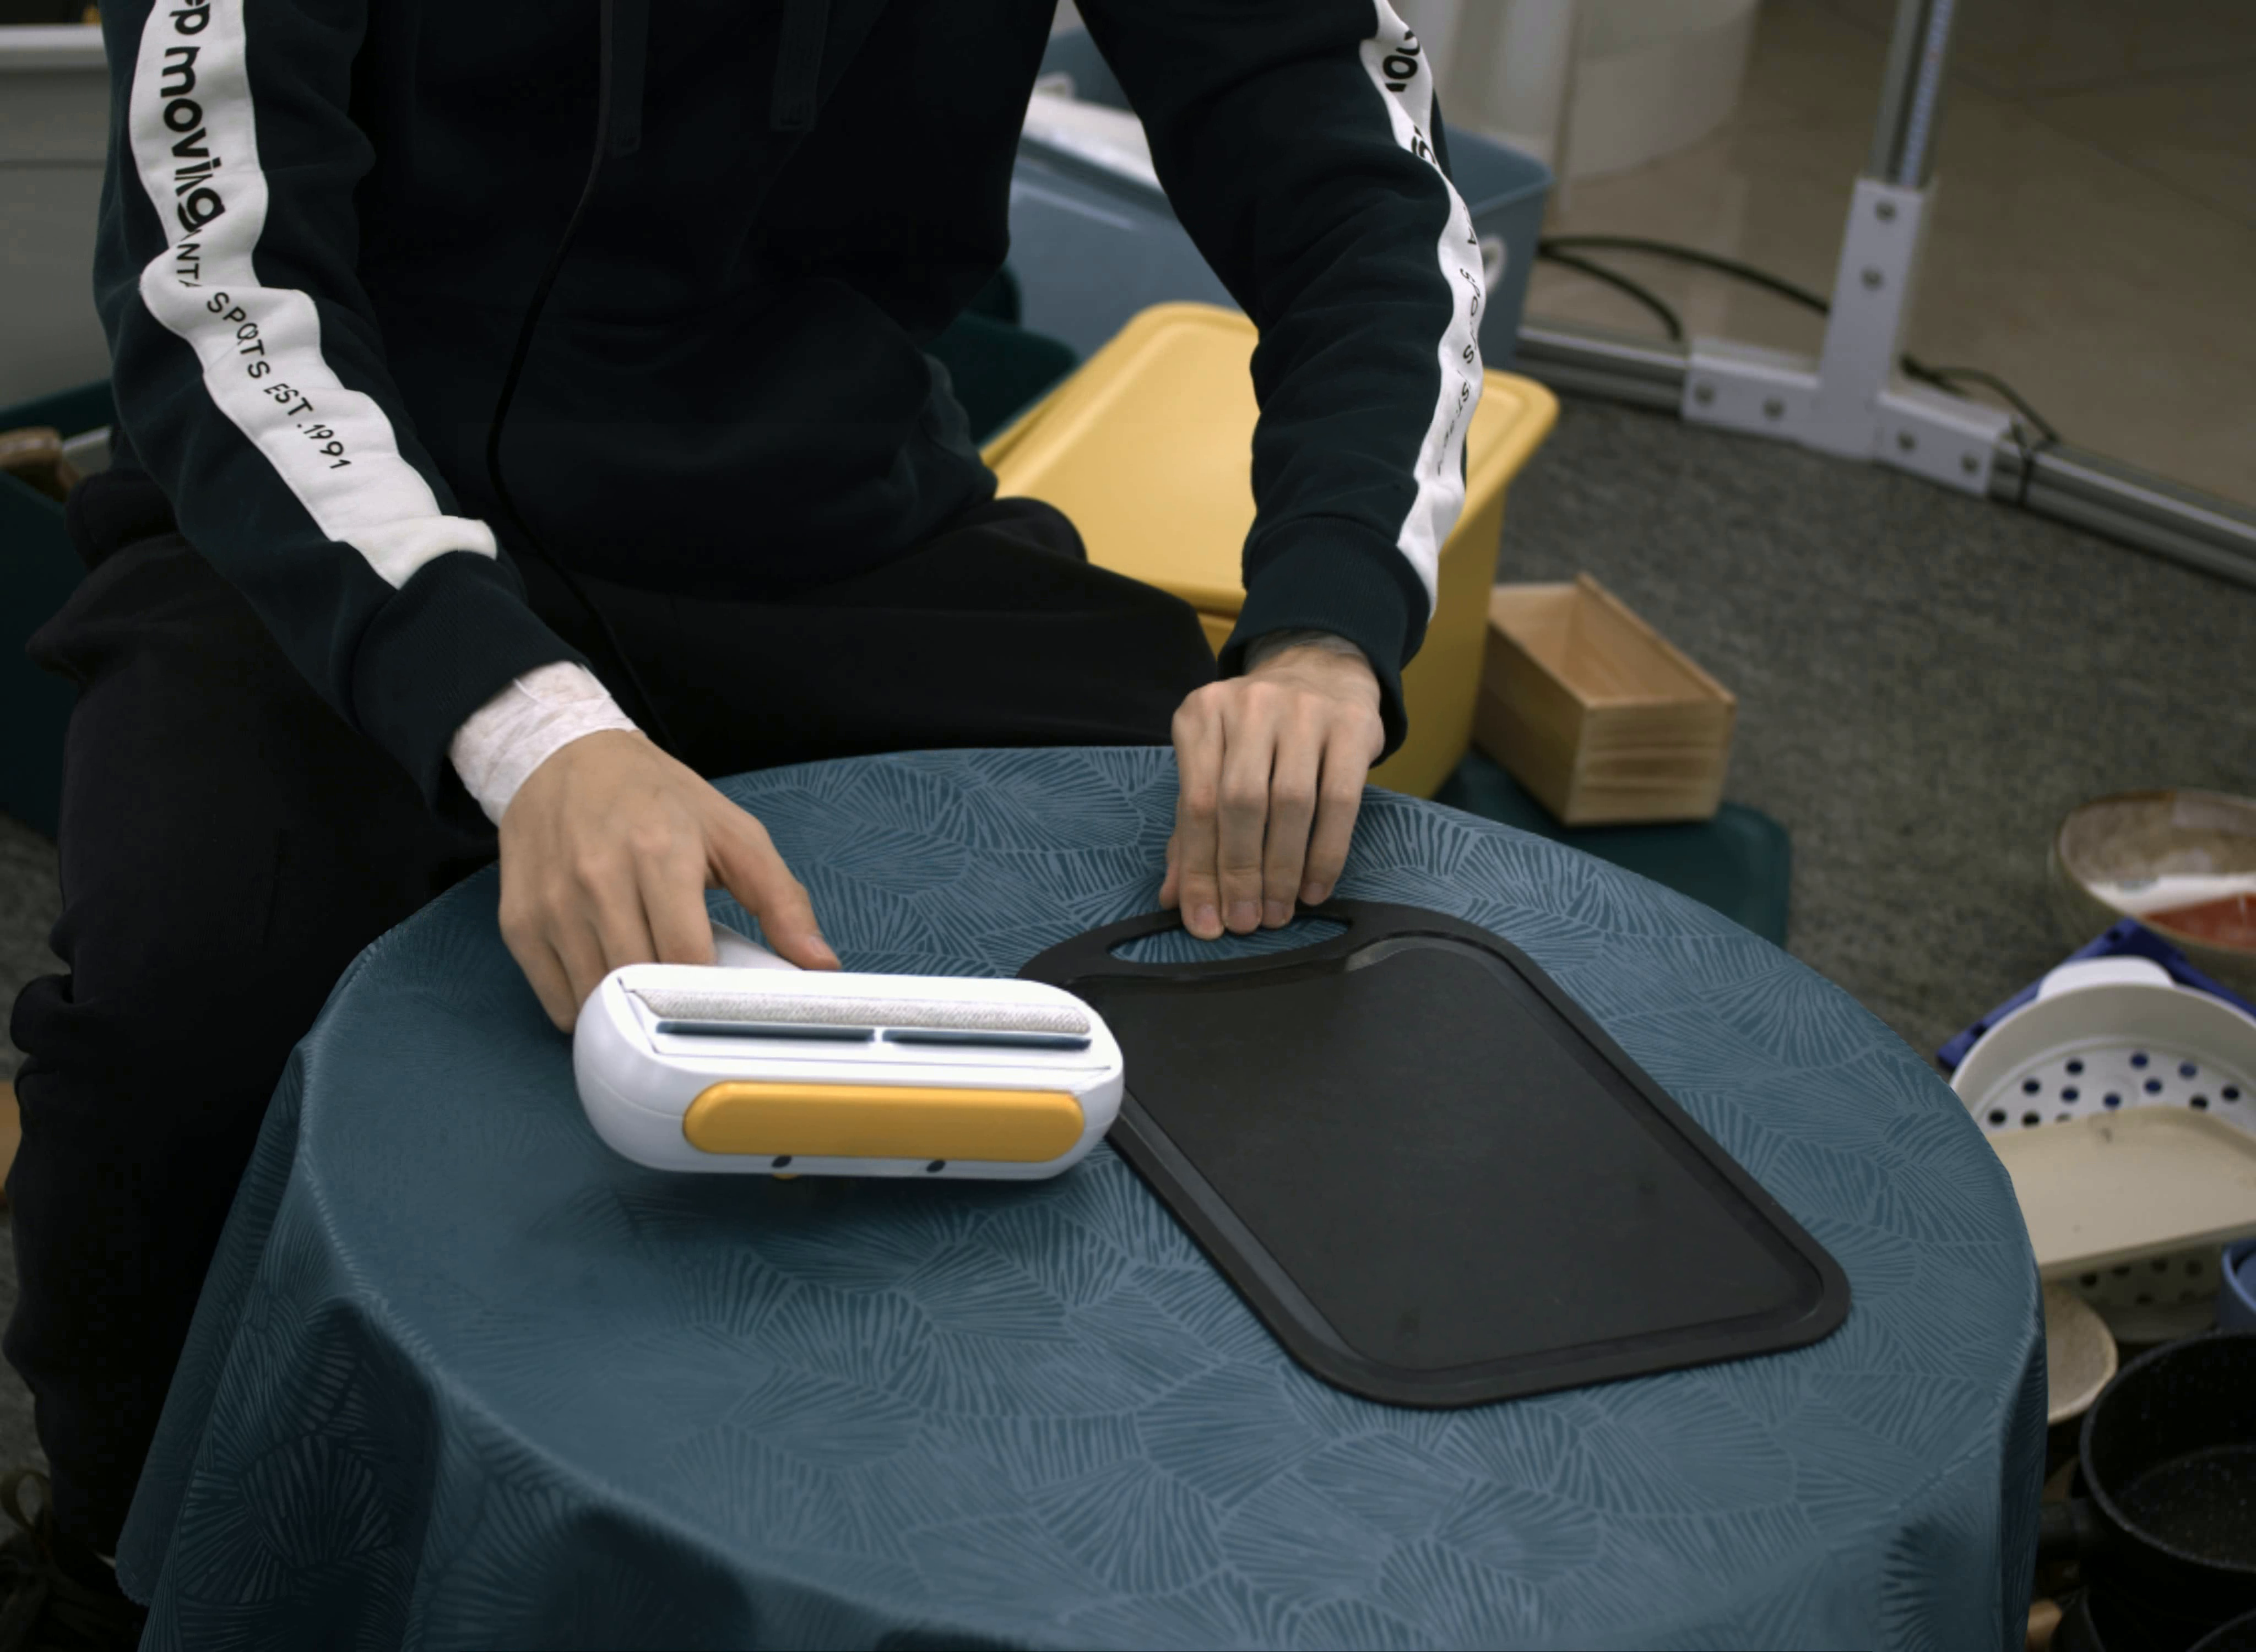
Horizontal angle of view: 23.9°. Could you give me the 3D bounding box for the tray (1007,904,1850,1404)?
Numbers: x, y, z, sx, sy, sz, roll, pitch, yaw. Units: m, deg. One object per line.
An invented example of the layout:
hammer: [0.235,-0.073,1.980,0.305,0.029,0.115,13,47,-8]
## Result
tray: [0.095,0.104,1.851,0.210,0.010,0.328,-7,30,-24]

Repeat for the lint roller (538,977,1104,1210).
lint roller: [-0.122,0.082,1.821,0.191,0.074,0.193,3,11,-22]
